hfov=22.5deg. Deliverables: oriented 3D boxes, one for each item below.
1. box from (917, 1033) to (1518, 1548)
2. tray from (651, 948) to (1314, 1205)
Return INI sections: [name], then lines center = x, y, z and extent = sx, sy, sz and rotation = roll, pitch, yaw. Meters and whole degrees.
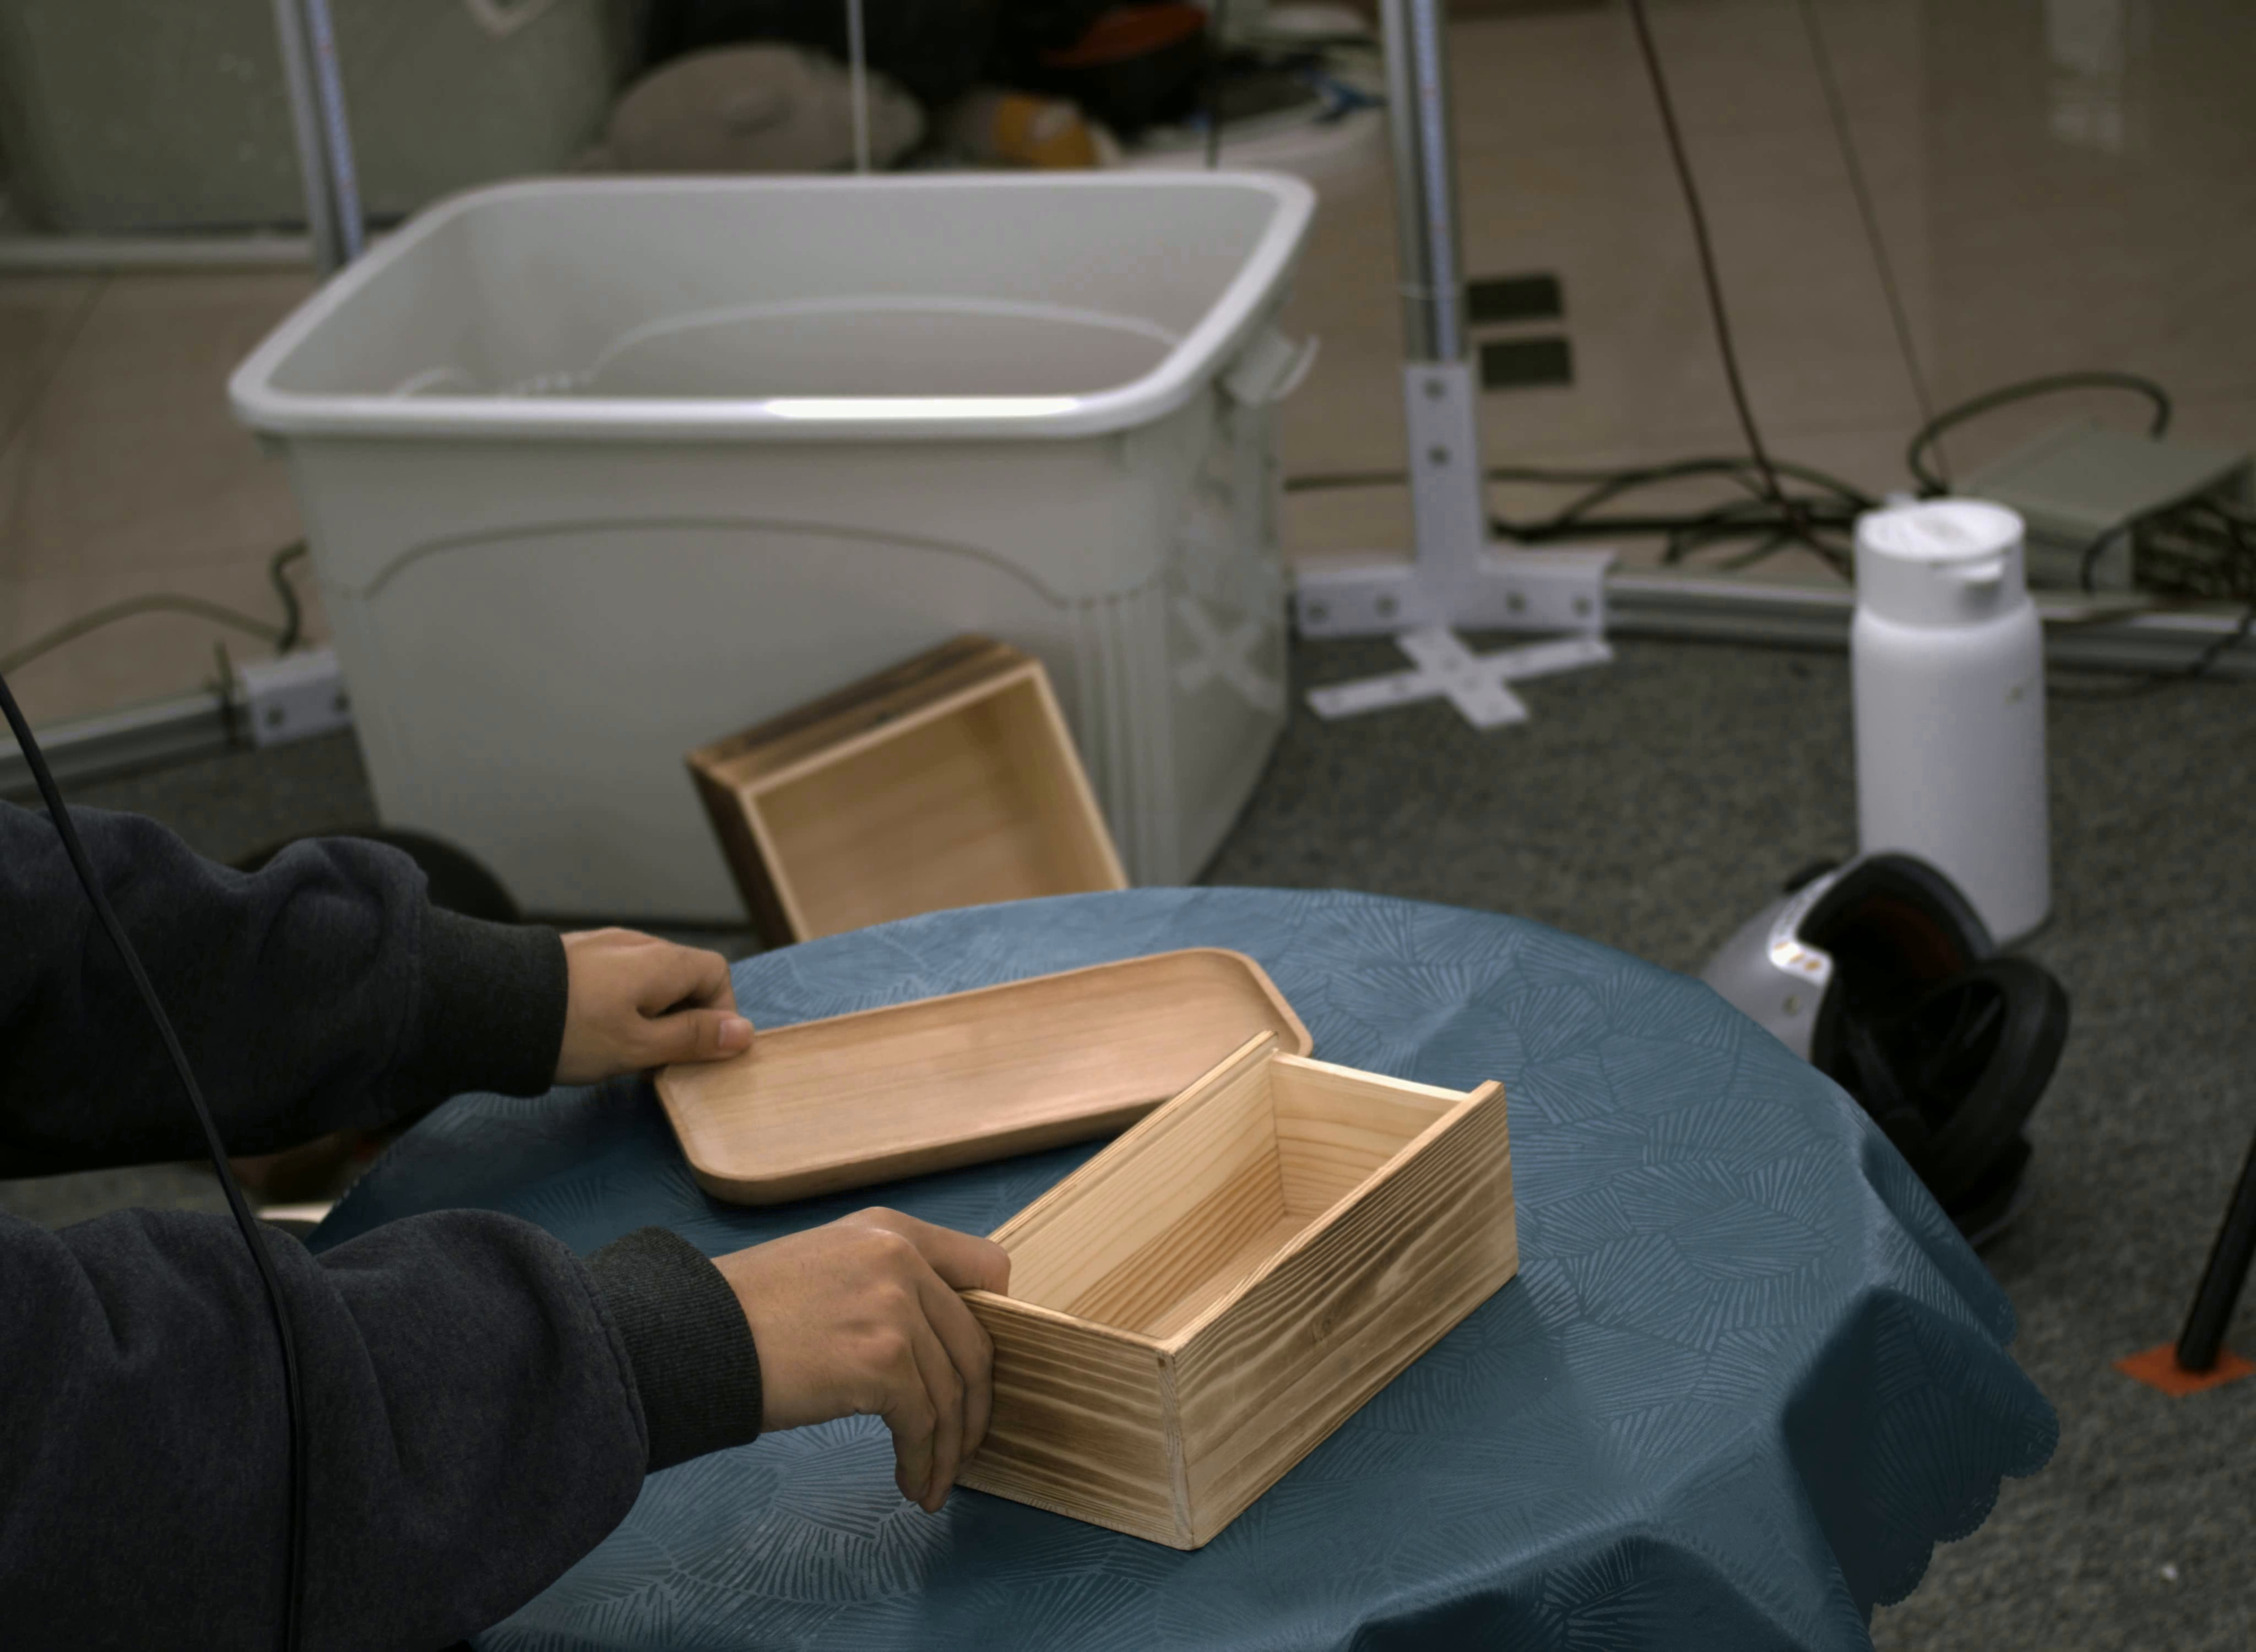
[box]
center = 0.035, 0.160, 1.998
extent = 0.107, 0.081, 0.209
rotation = 12, 31, 34
[tray]
center = -0.057, 0.098, 2.224
extent = 0.250, 0.023, 0.129
rotation = -11, 22, -12
